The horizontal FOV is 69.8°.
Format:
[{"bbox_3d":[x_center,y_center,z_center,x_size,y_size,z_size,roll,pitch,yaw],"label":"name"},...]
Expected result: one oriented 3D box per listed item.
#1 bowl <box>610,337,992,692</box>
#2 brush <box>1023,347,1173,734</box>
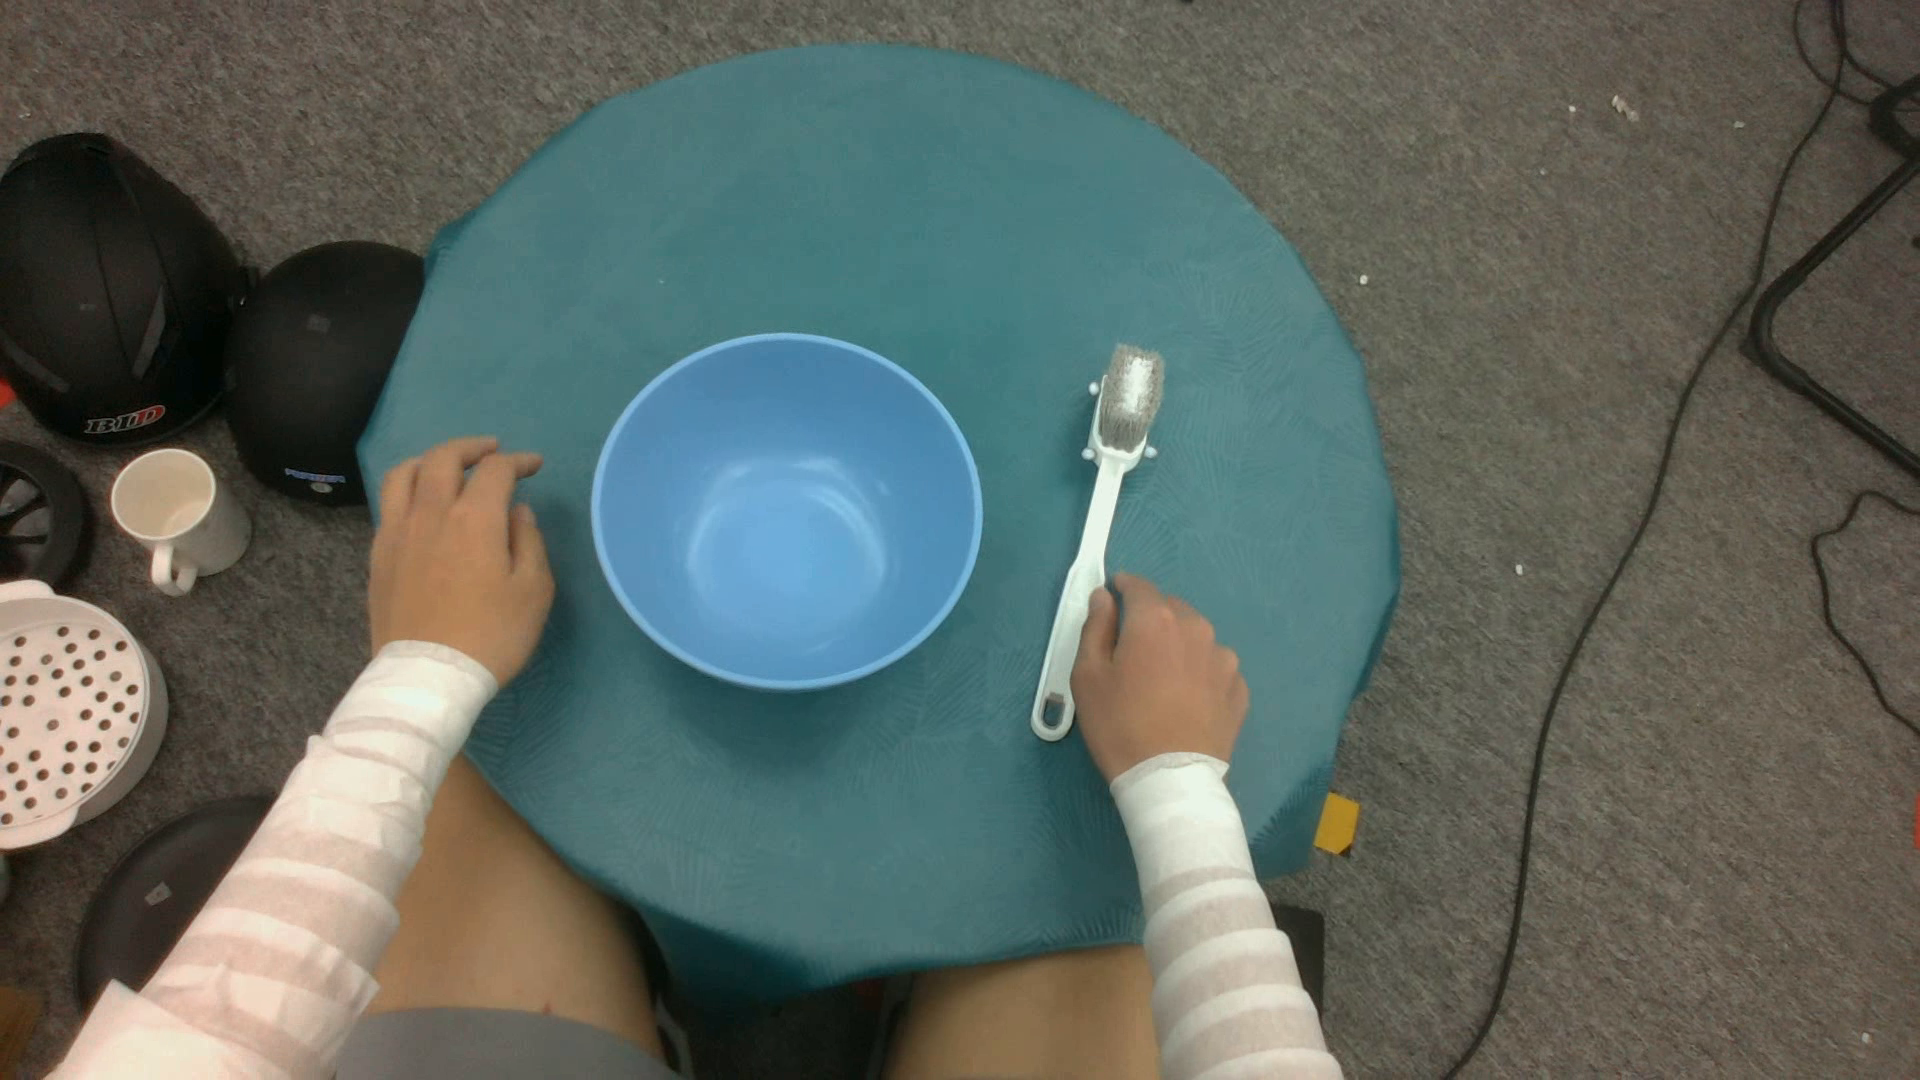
[{"bbox_3d":[-0.086,-0.002,0.752,0.196,0.095,0.197,3,68,-8],"label":"bowl"},{"bbox_3d":[0.082,-0.006,0.802,0.034,0.050,0.244,19,67,-2],"label":"brush"}]
